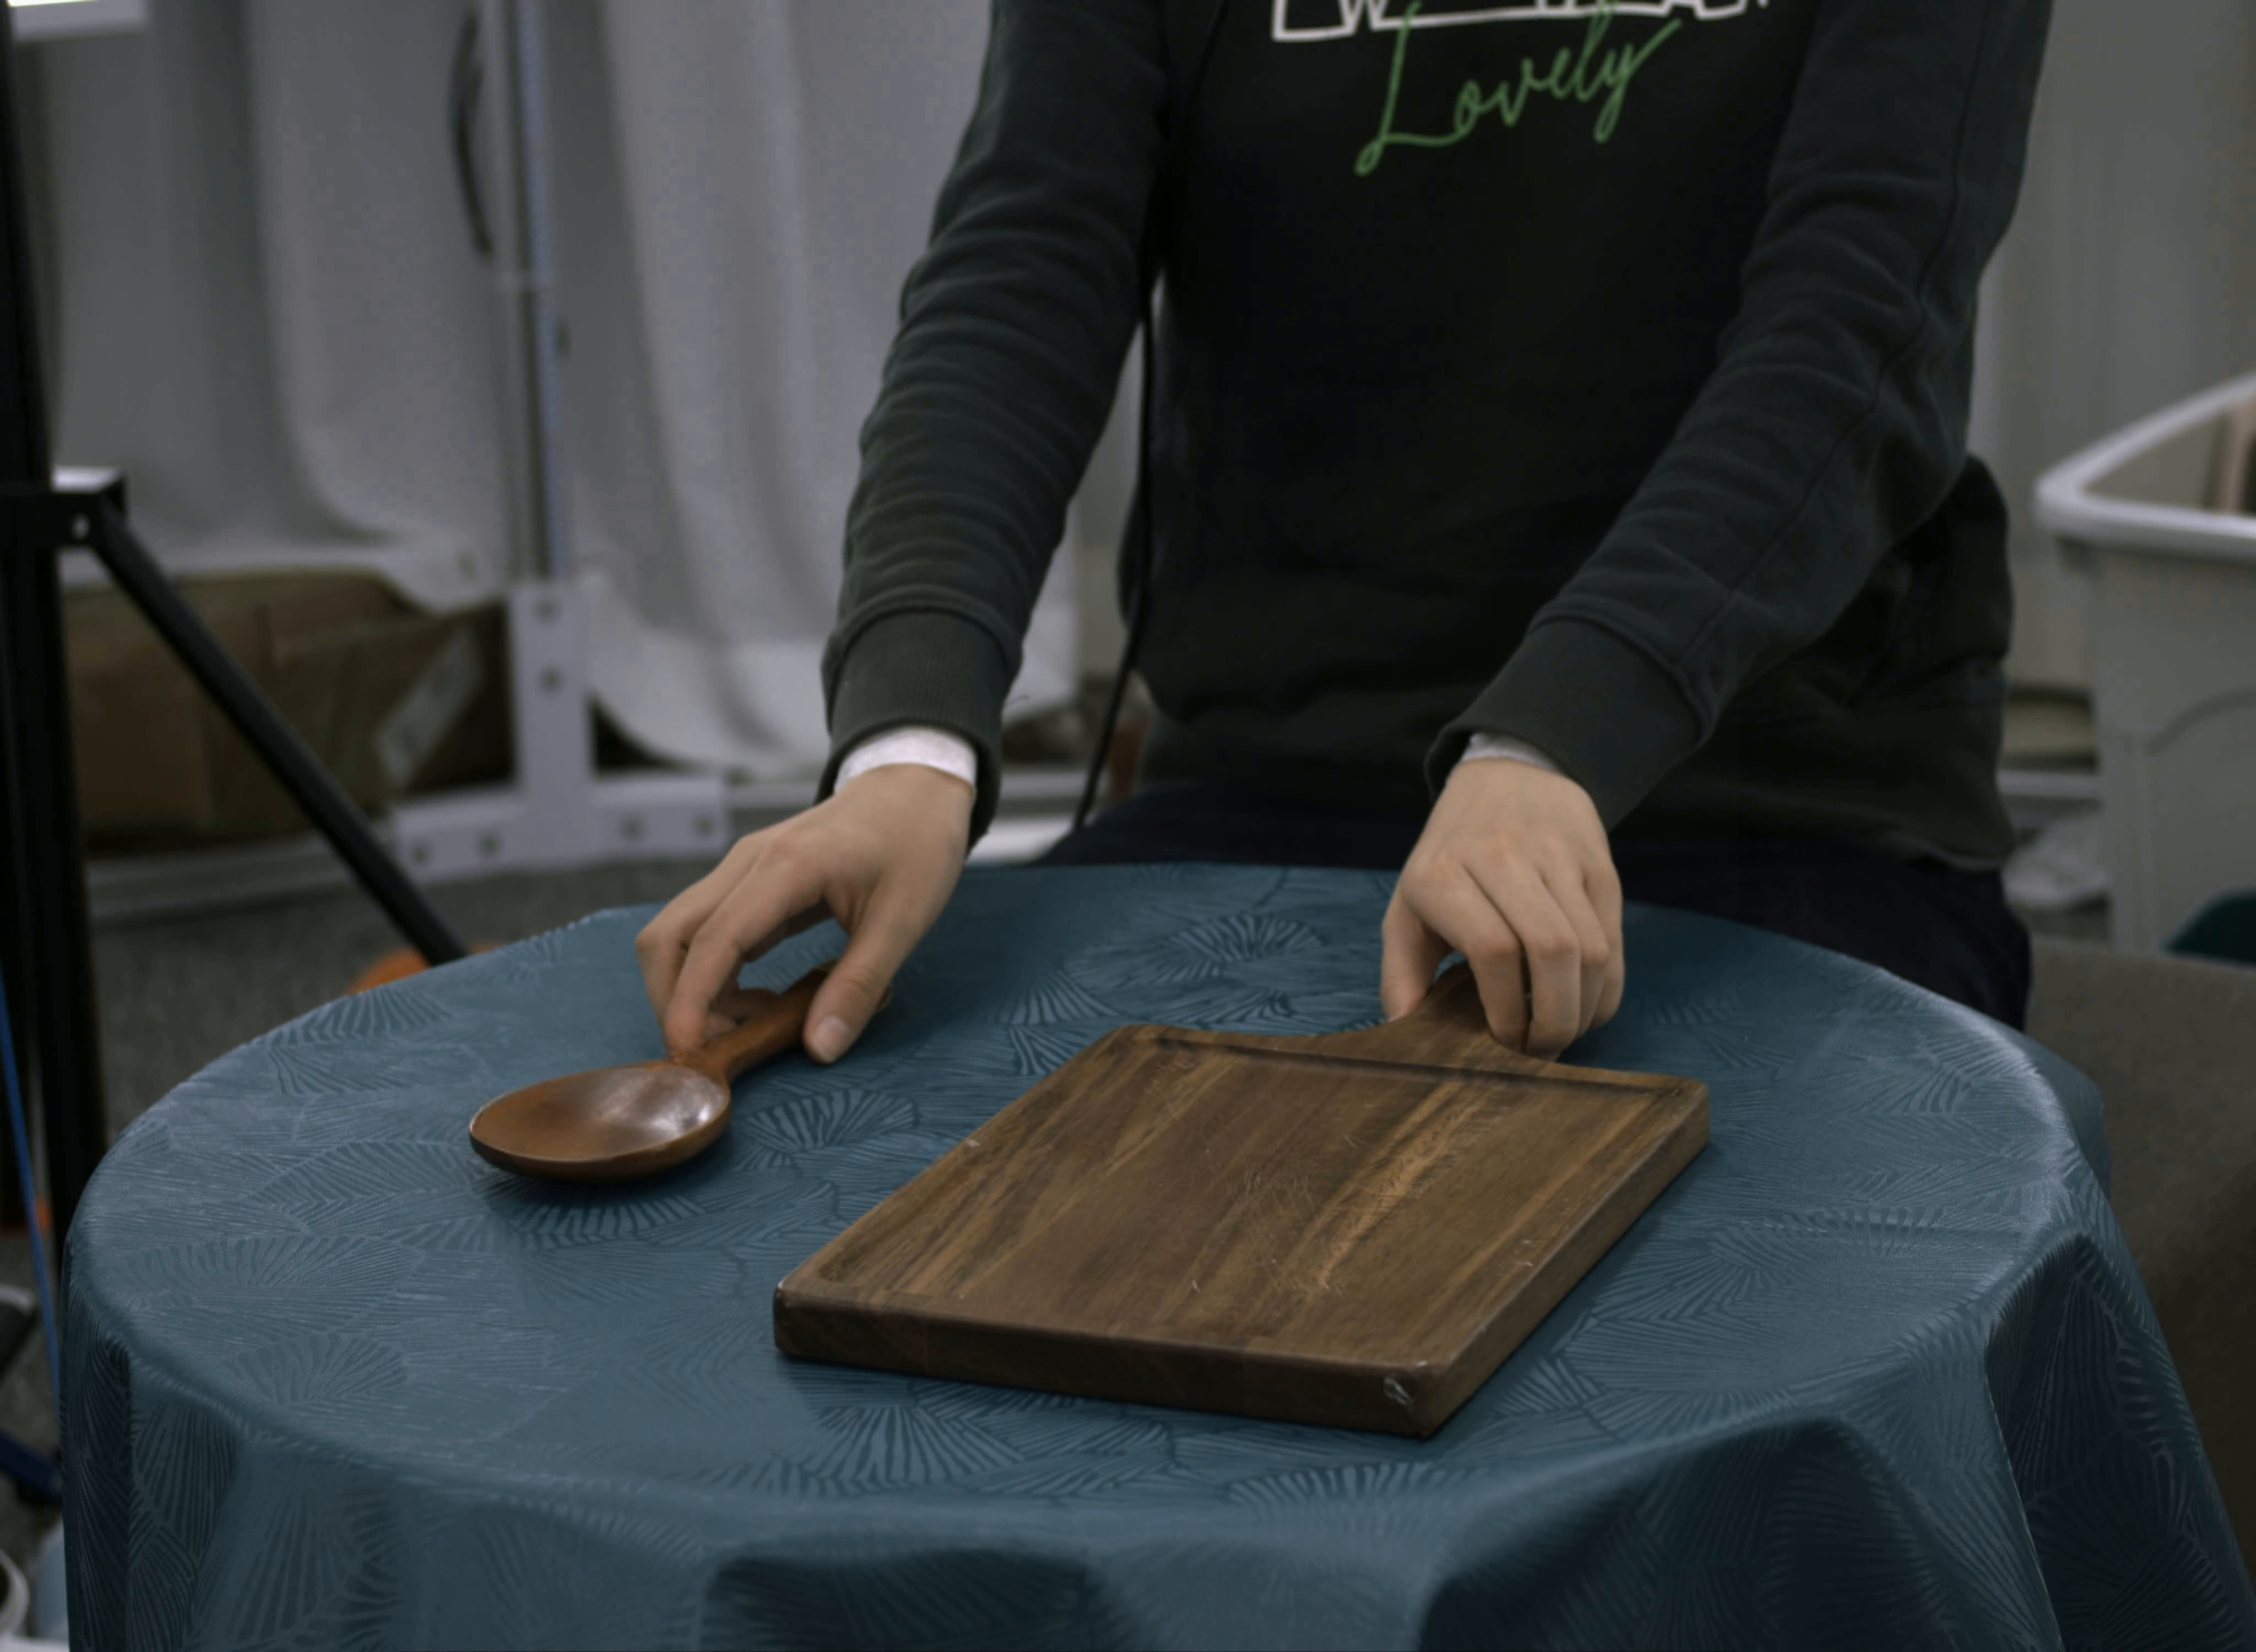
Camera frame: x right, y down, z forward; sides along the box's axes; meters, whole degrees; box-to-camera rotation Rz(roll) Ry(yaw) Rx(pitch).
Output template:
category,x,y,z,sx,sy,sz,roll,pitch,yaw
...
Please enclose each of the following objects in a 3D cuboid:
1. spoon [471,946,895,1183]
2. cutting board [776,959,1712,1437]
category,x,y,z,sx,sy,sz,roll,pitch,yaw
spoon,-0.129,0.076,1.661,0.076,0.017,0.212,3,17,26
cutting board,0.058,0.099,1.550,0.204,0.023,0.347,3,17,24
